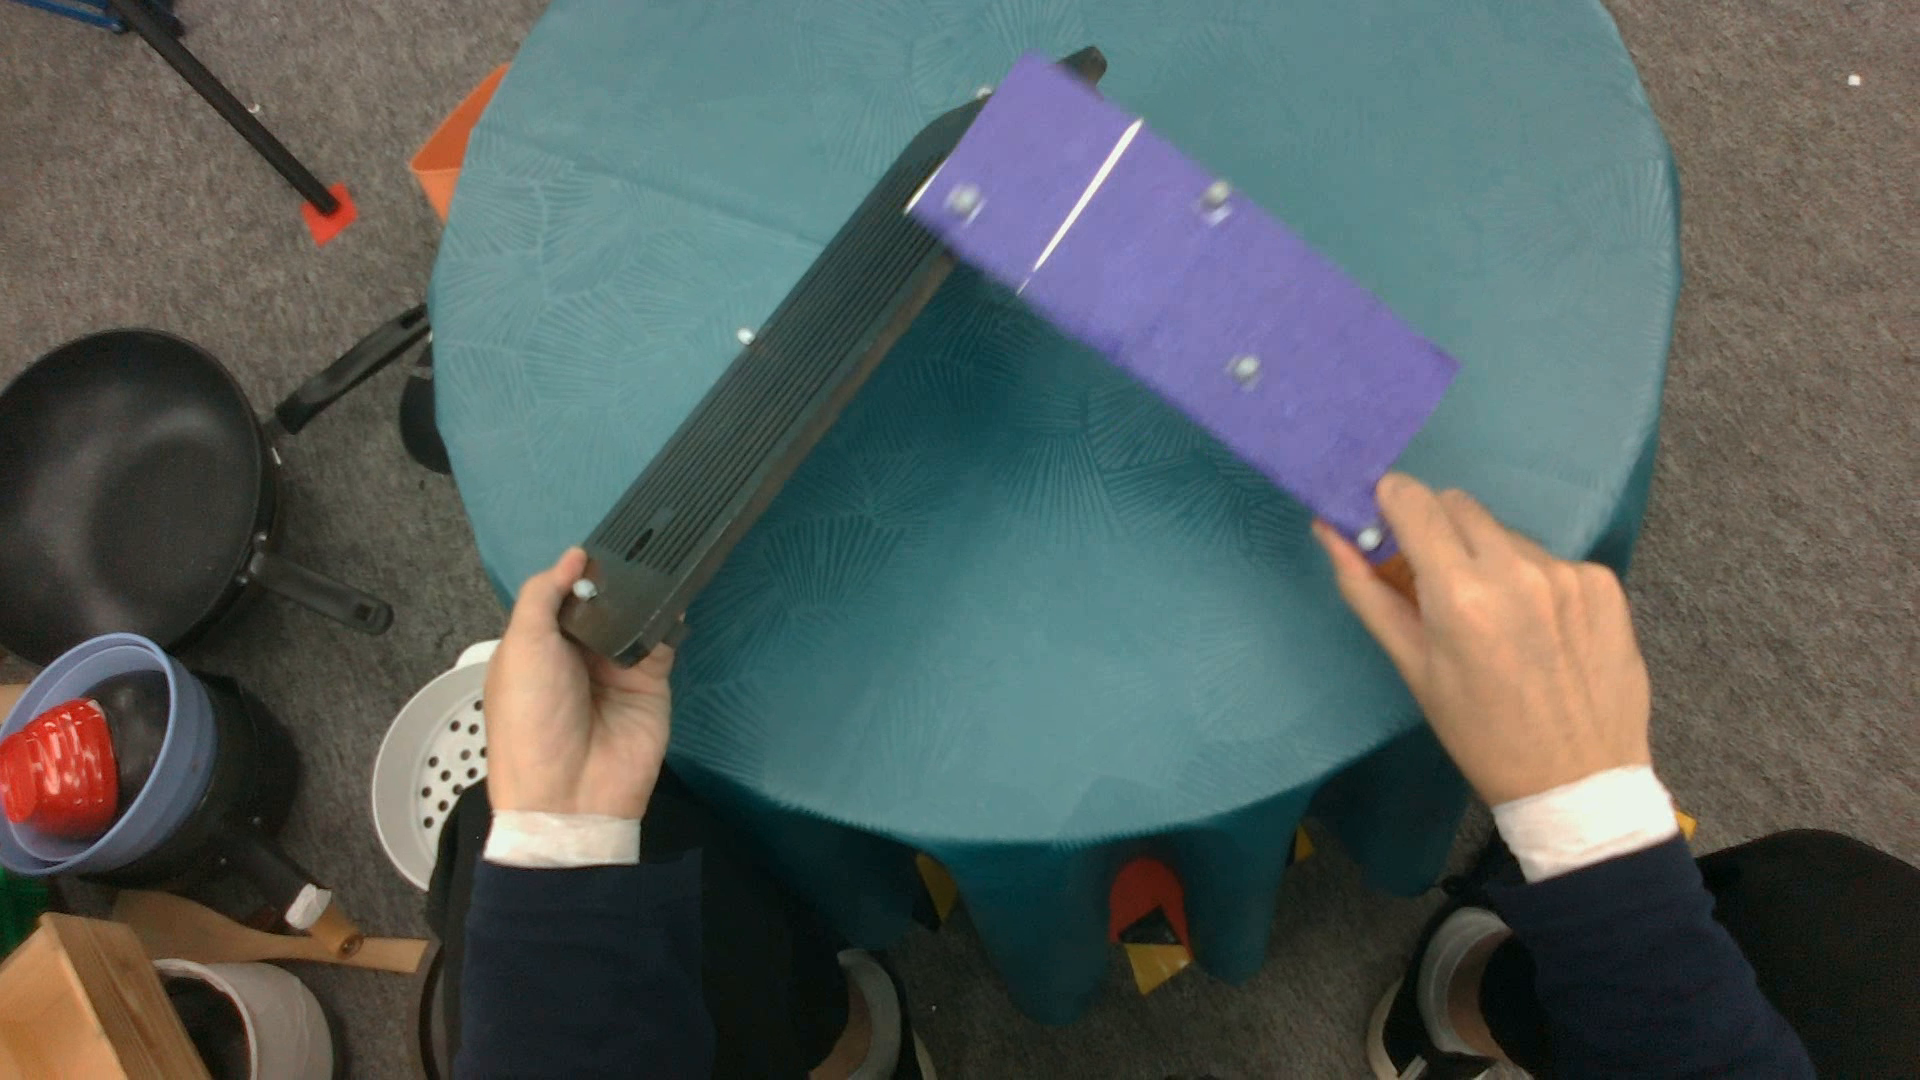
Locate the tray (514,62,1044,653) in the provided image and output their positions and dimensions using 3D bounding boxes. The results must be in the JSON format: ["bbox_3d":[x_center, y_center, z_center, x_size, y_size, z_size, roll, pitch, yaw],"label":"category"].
[{"bbox_3d":[-0.073,-0.086,0.586,0.018,0.170,0.306,42,75,-25],"label":"tray"}]

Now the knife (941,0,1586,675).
[{"bbox_3d":[0.138,-0.086,0.531,0.315,0.032,0.104,44,77,-3],"label":"knife"}]
